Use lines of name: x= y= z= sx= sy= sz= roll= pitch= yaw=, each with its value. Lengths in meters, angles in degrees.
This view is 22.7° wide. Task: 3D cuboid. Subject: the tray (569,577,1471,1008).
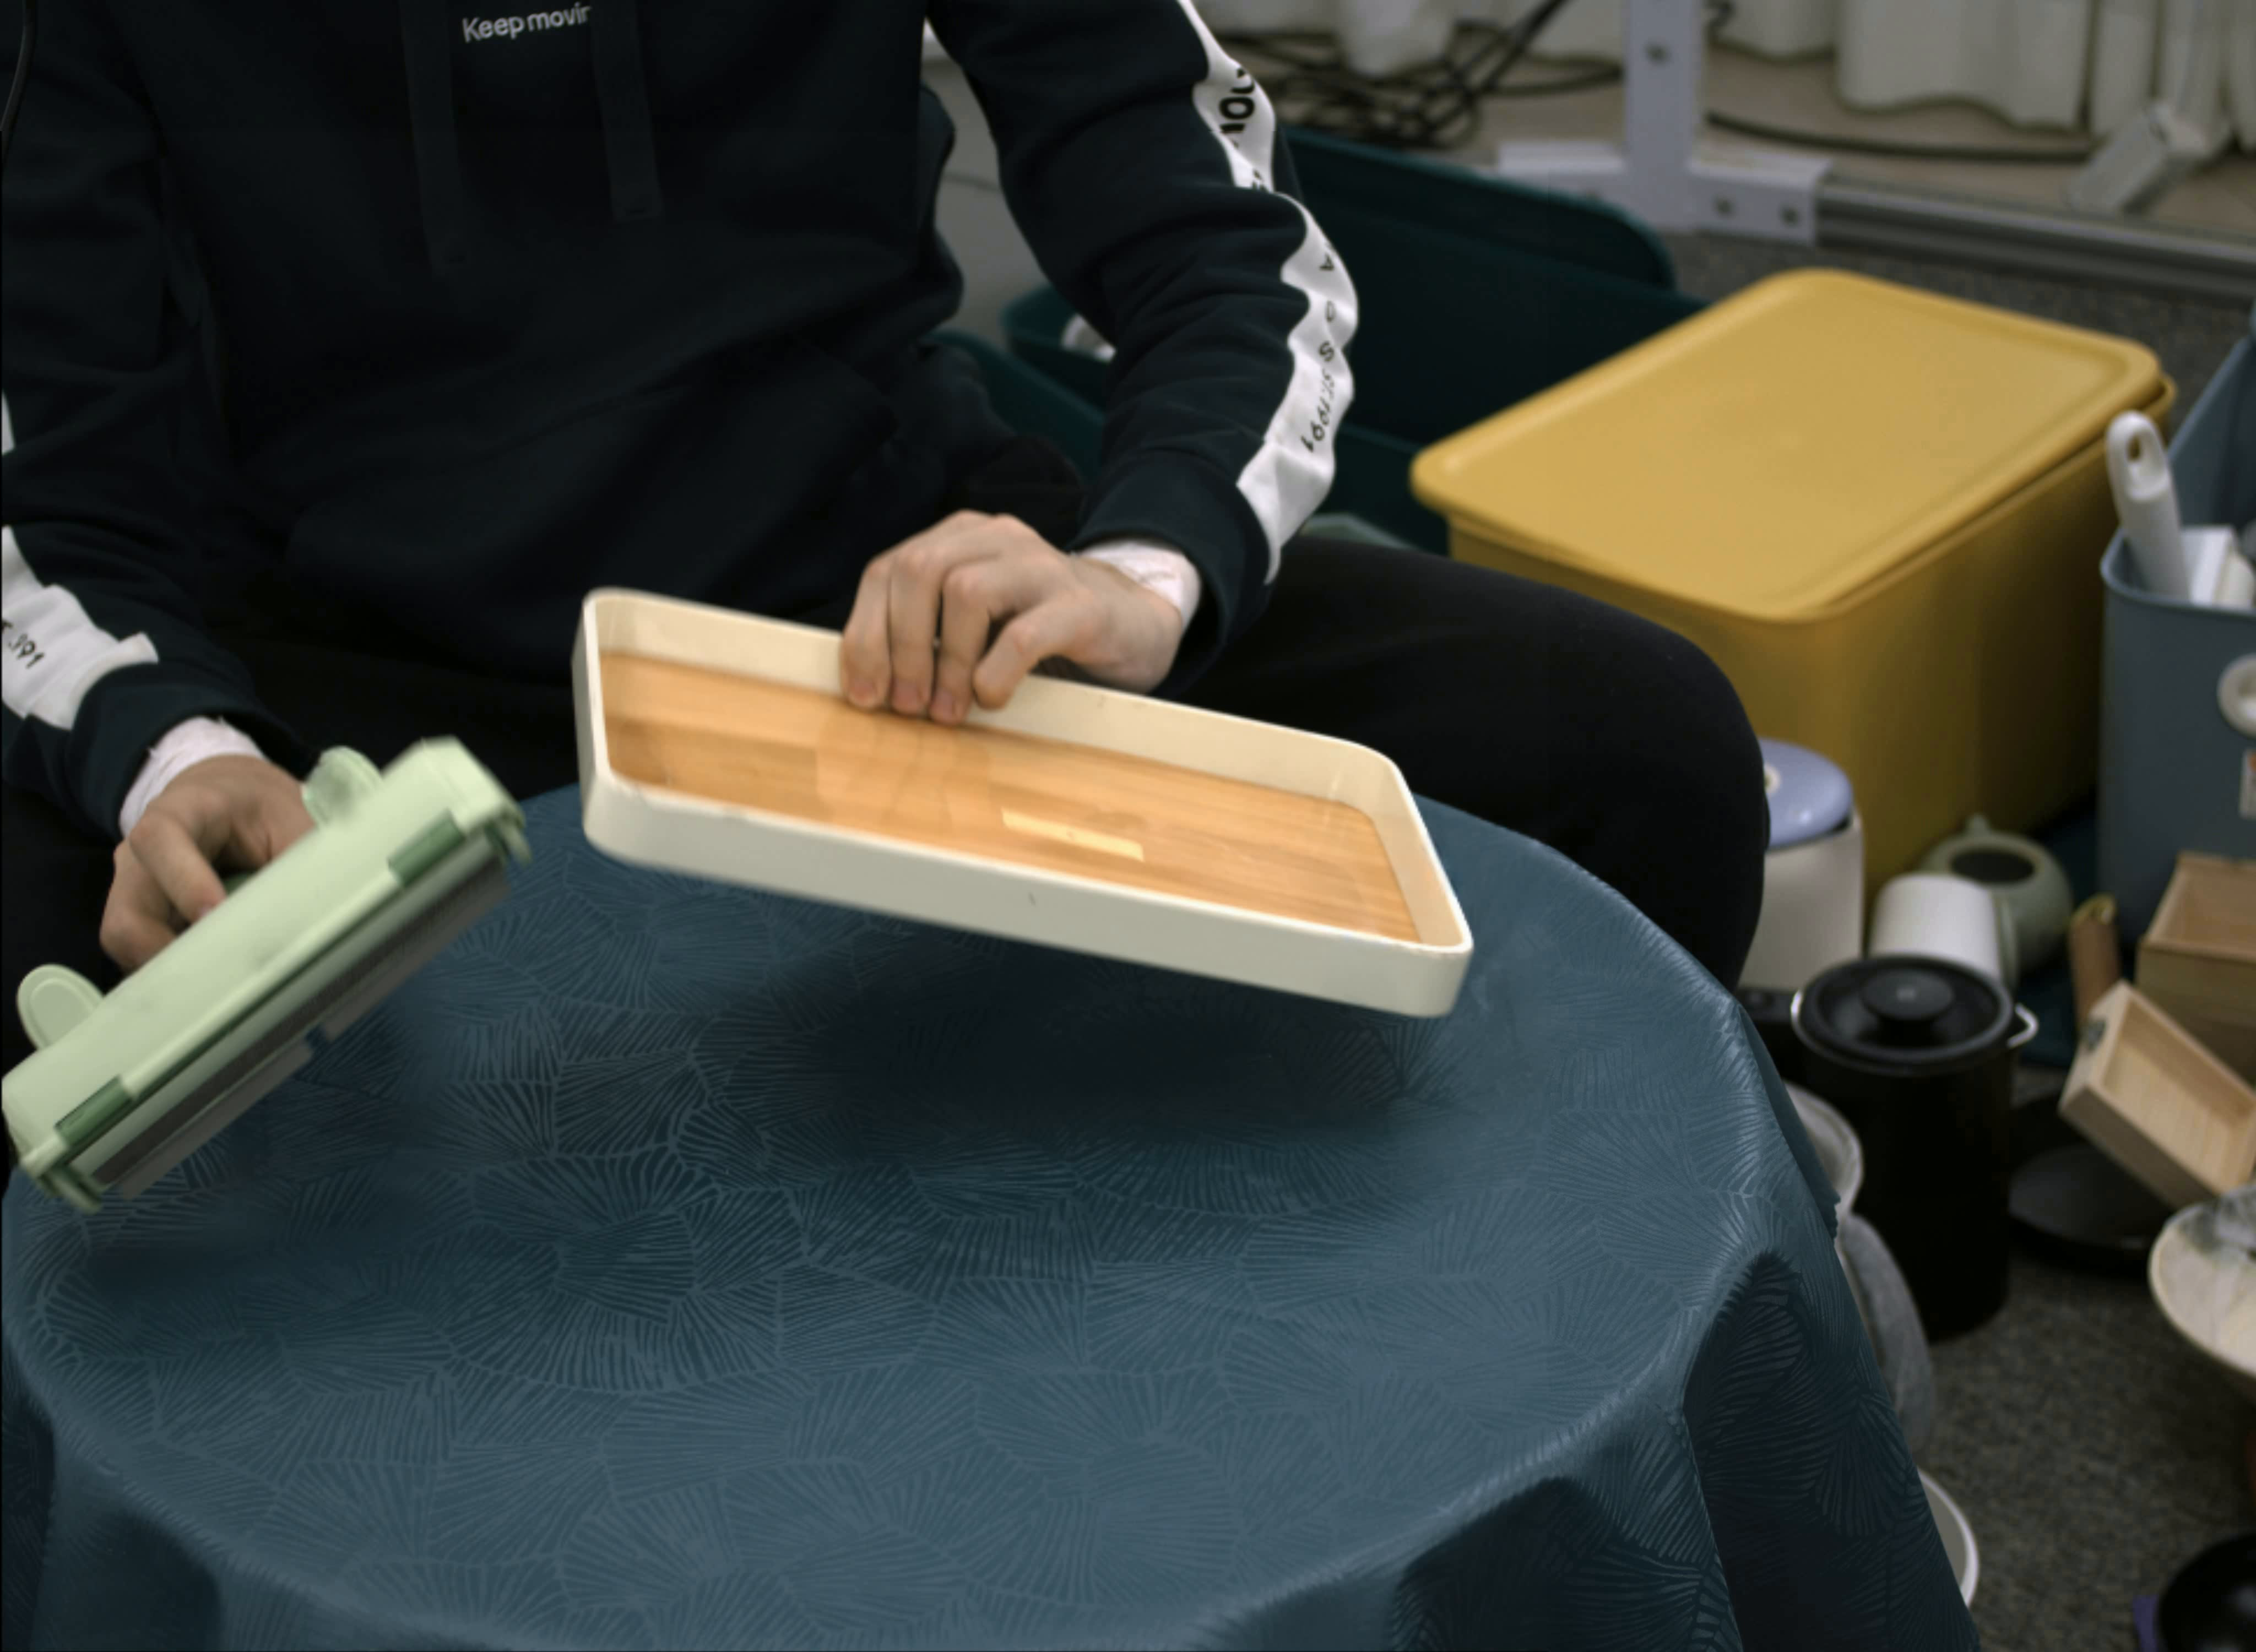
tray: x=-0.041 y=-0.012 z=1.911 sx=0.299 sy=0.027 sz=0.193 roll=13 pitch=19 yaw=-12

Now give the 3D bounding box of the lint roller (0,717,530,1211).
lint roller: x=-0.303 y=0.026 z=1.882 sx=0.199 sy=0.081 sz=0.184 roll=-41 pitch=24 yaw=-6
